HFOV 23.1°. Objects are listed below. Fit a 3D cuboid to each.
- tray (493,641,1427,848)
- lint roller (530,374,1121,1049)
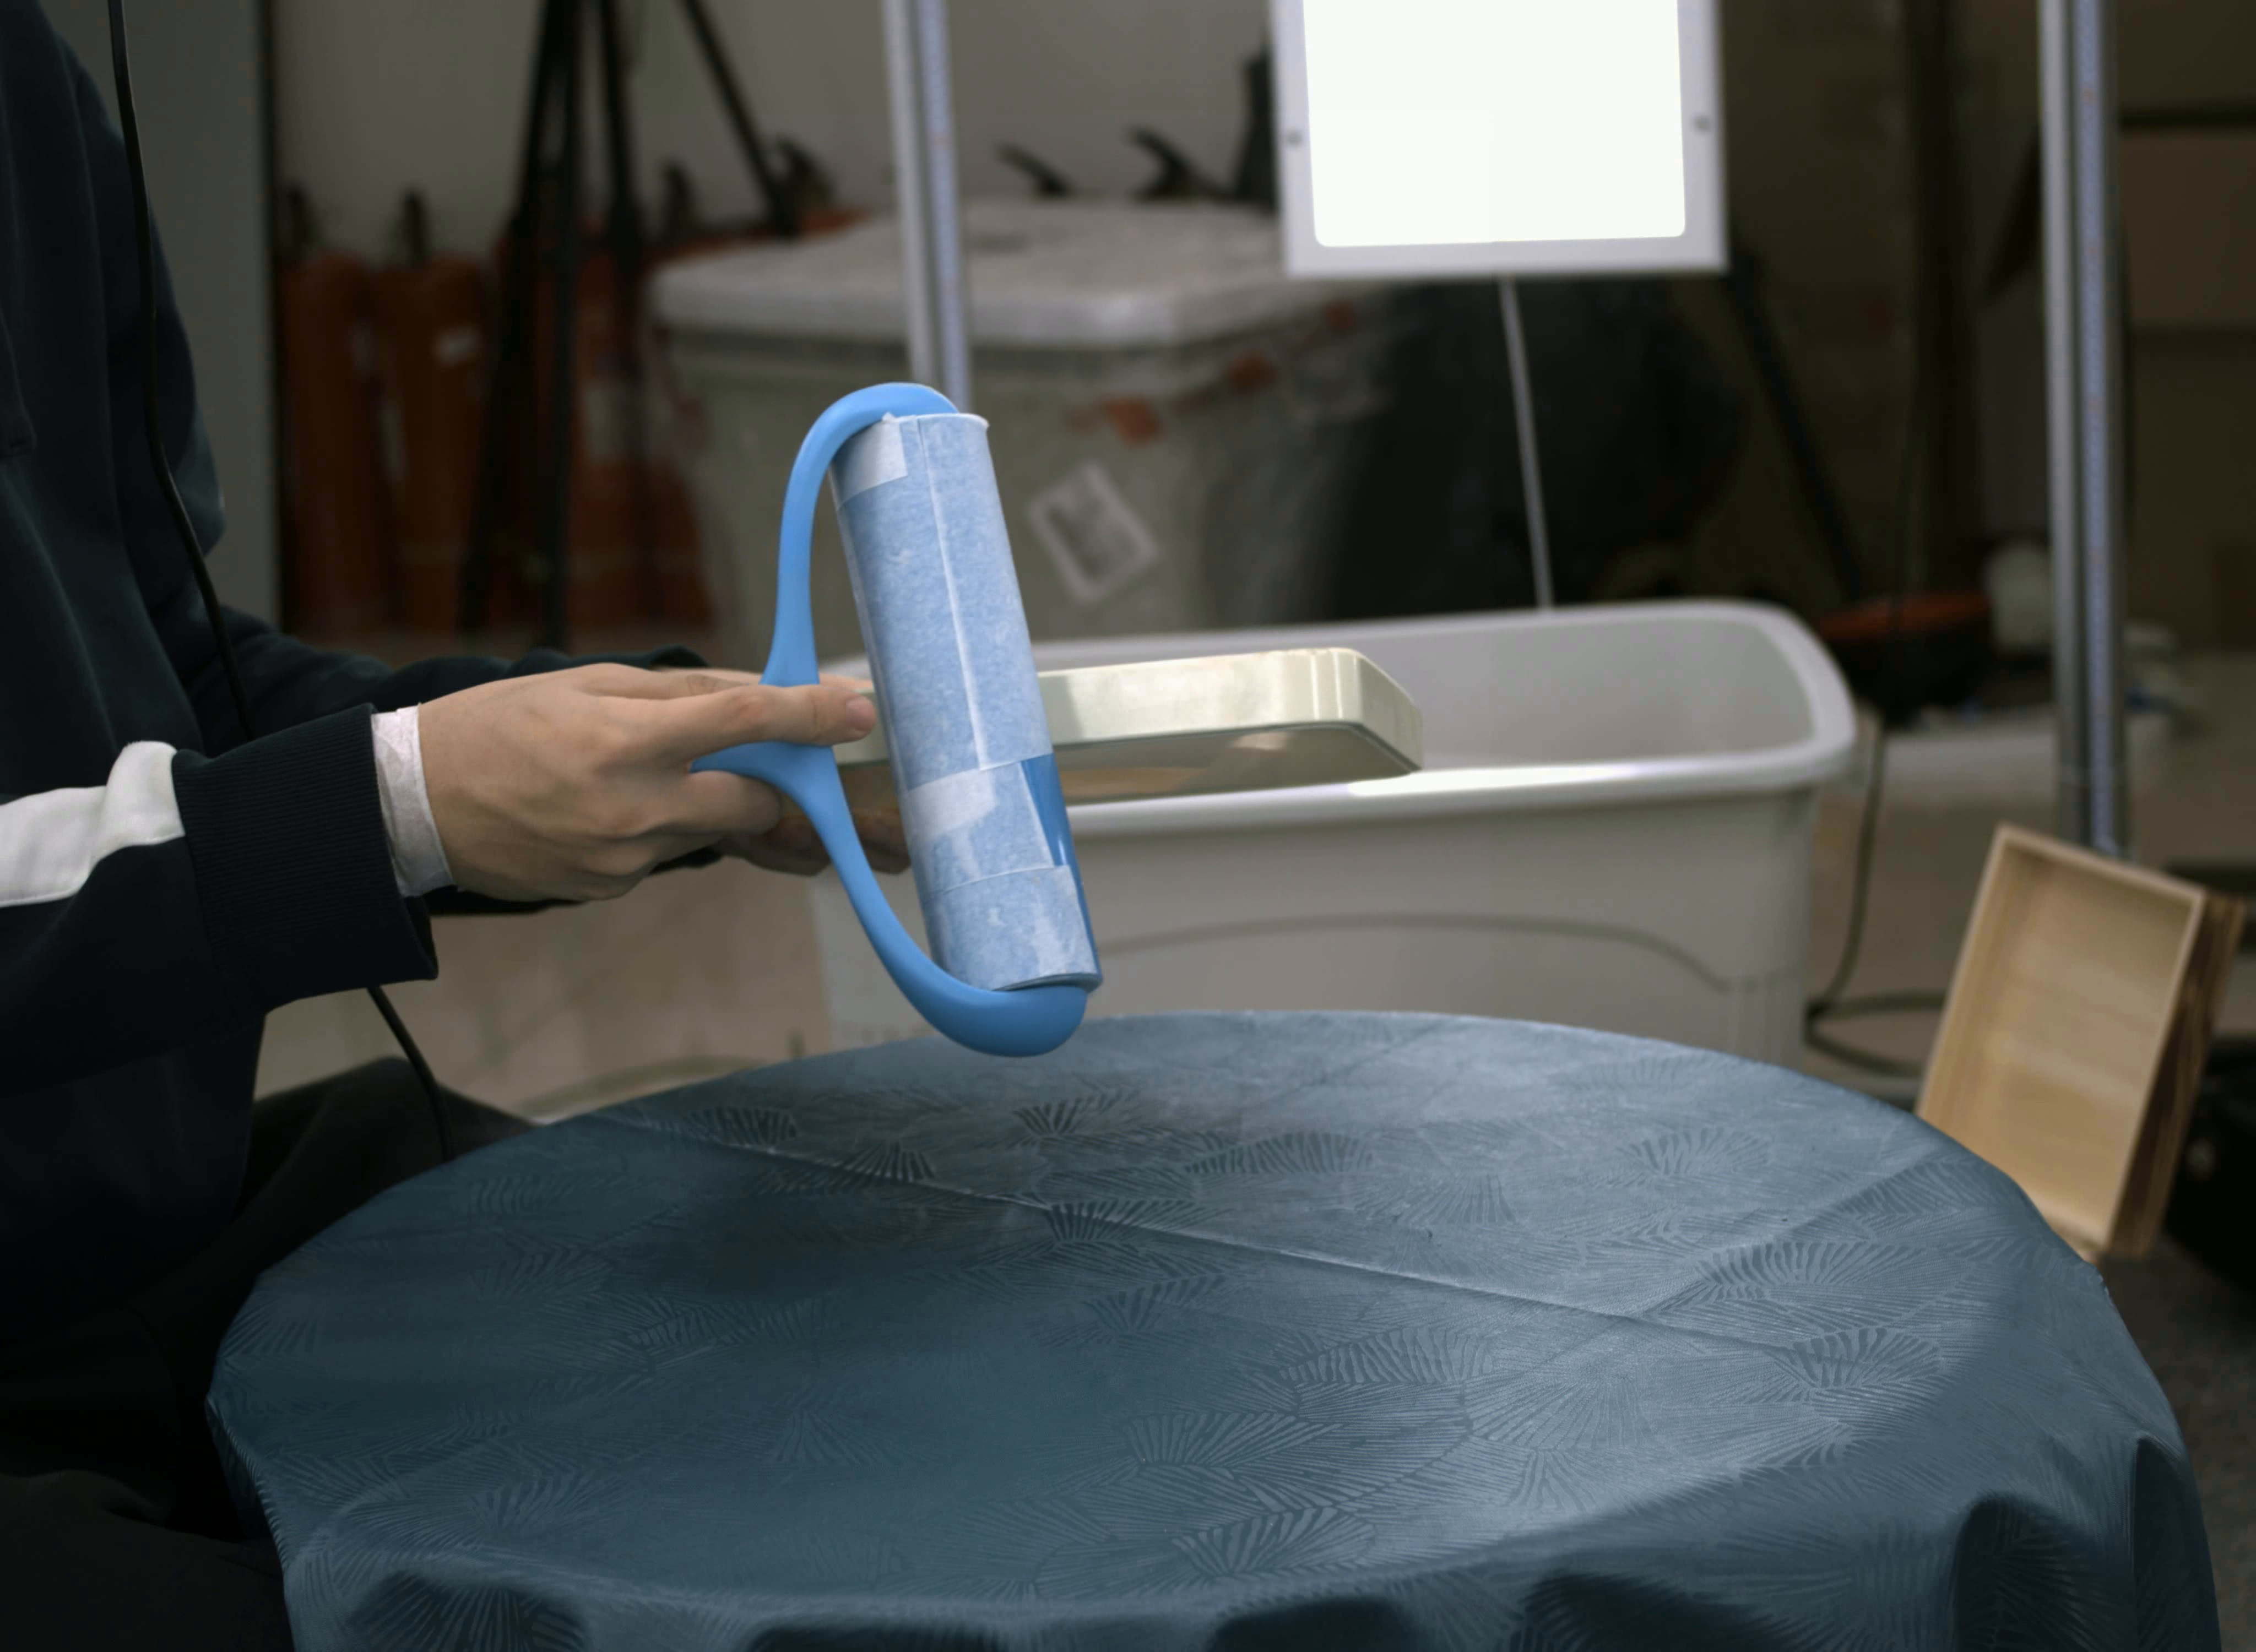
[{"bbox_3d":[-0.054,-0.026,1.917,0.303,0.027,0.189,-5,-6,13],"label":"tray"},{"bbox_3d":[-0.108,-0.022,1.791,0.179,0.229,0.068,-16,-10,-1],"label":"lint roller"}]
